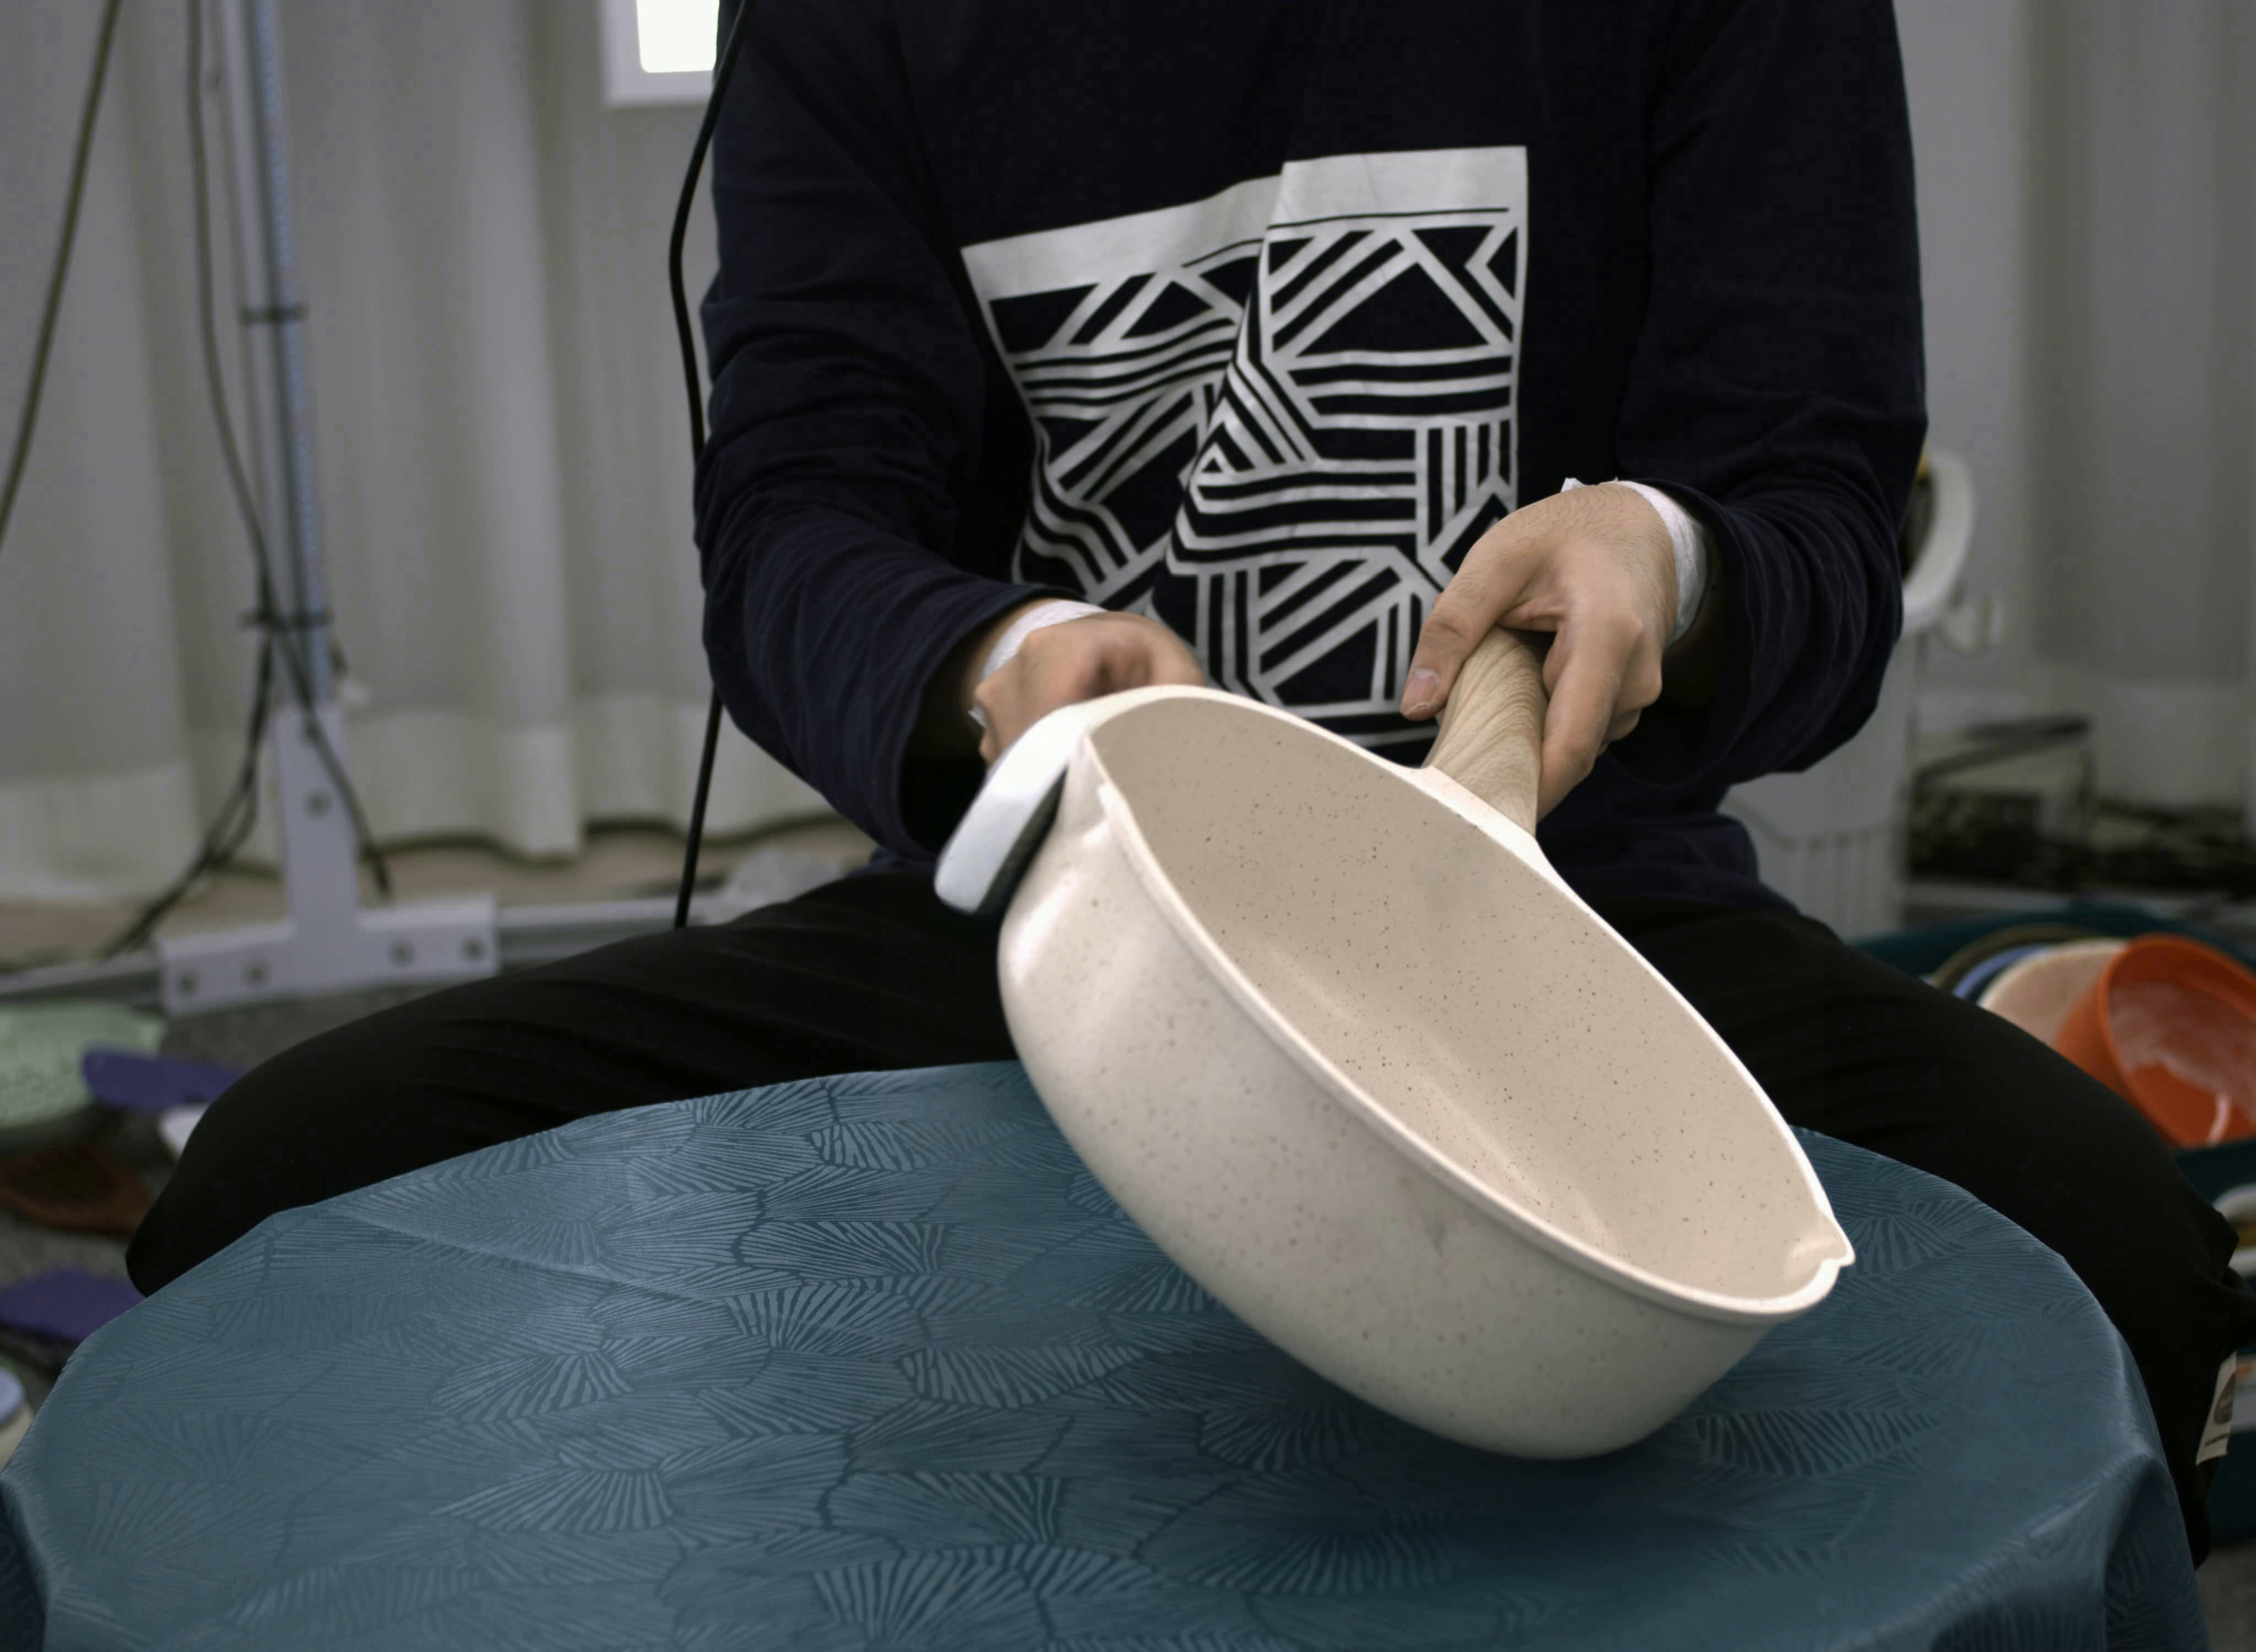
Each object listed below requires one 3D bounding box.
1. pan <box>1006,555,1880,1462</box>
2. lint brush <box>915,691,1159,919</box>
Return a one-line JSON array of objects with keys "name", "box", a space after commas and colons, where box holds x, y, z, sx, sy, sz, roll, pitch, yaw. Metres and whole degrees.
[{"name": "pan", "box": [0.086, 0.036, 1.583, 0.262, 0.101, 0.439, 31, 21, -7]}, {"name": "lint brush", "box": [-0.020, -0.011, 1.614, 0.021, 0.060, 0.309, 28, 7, 5]}]
